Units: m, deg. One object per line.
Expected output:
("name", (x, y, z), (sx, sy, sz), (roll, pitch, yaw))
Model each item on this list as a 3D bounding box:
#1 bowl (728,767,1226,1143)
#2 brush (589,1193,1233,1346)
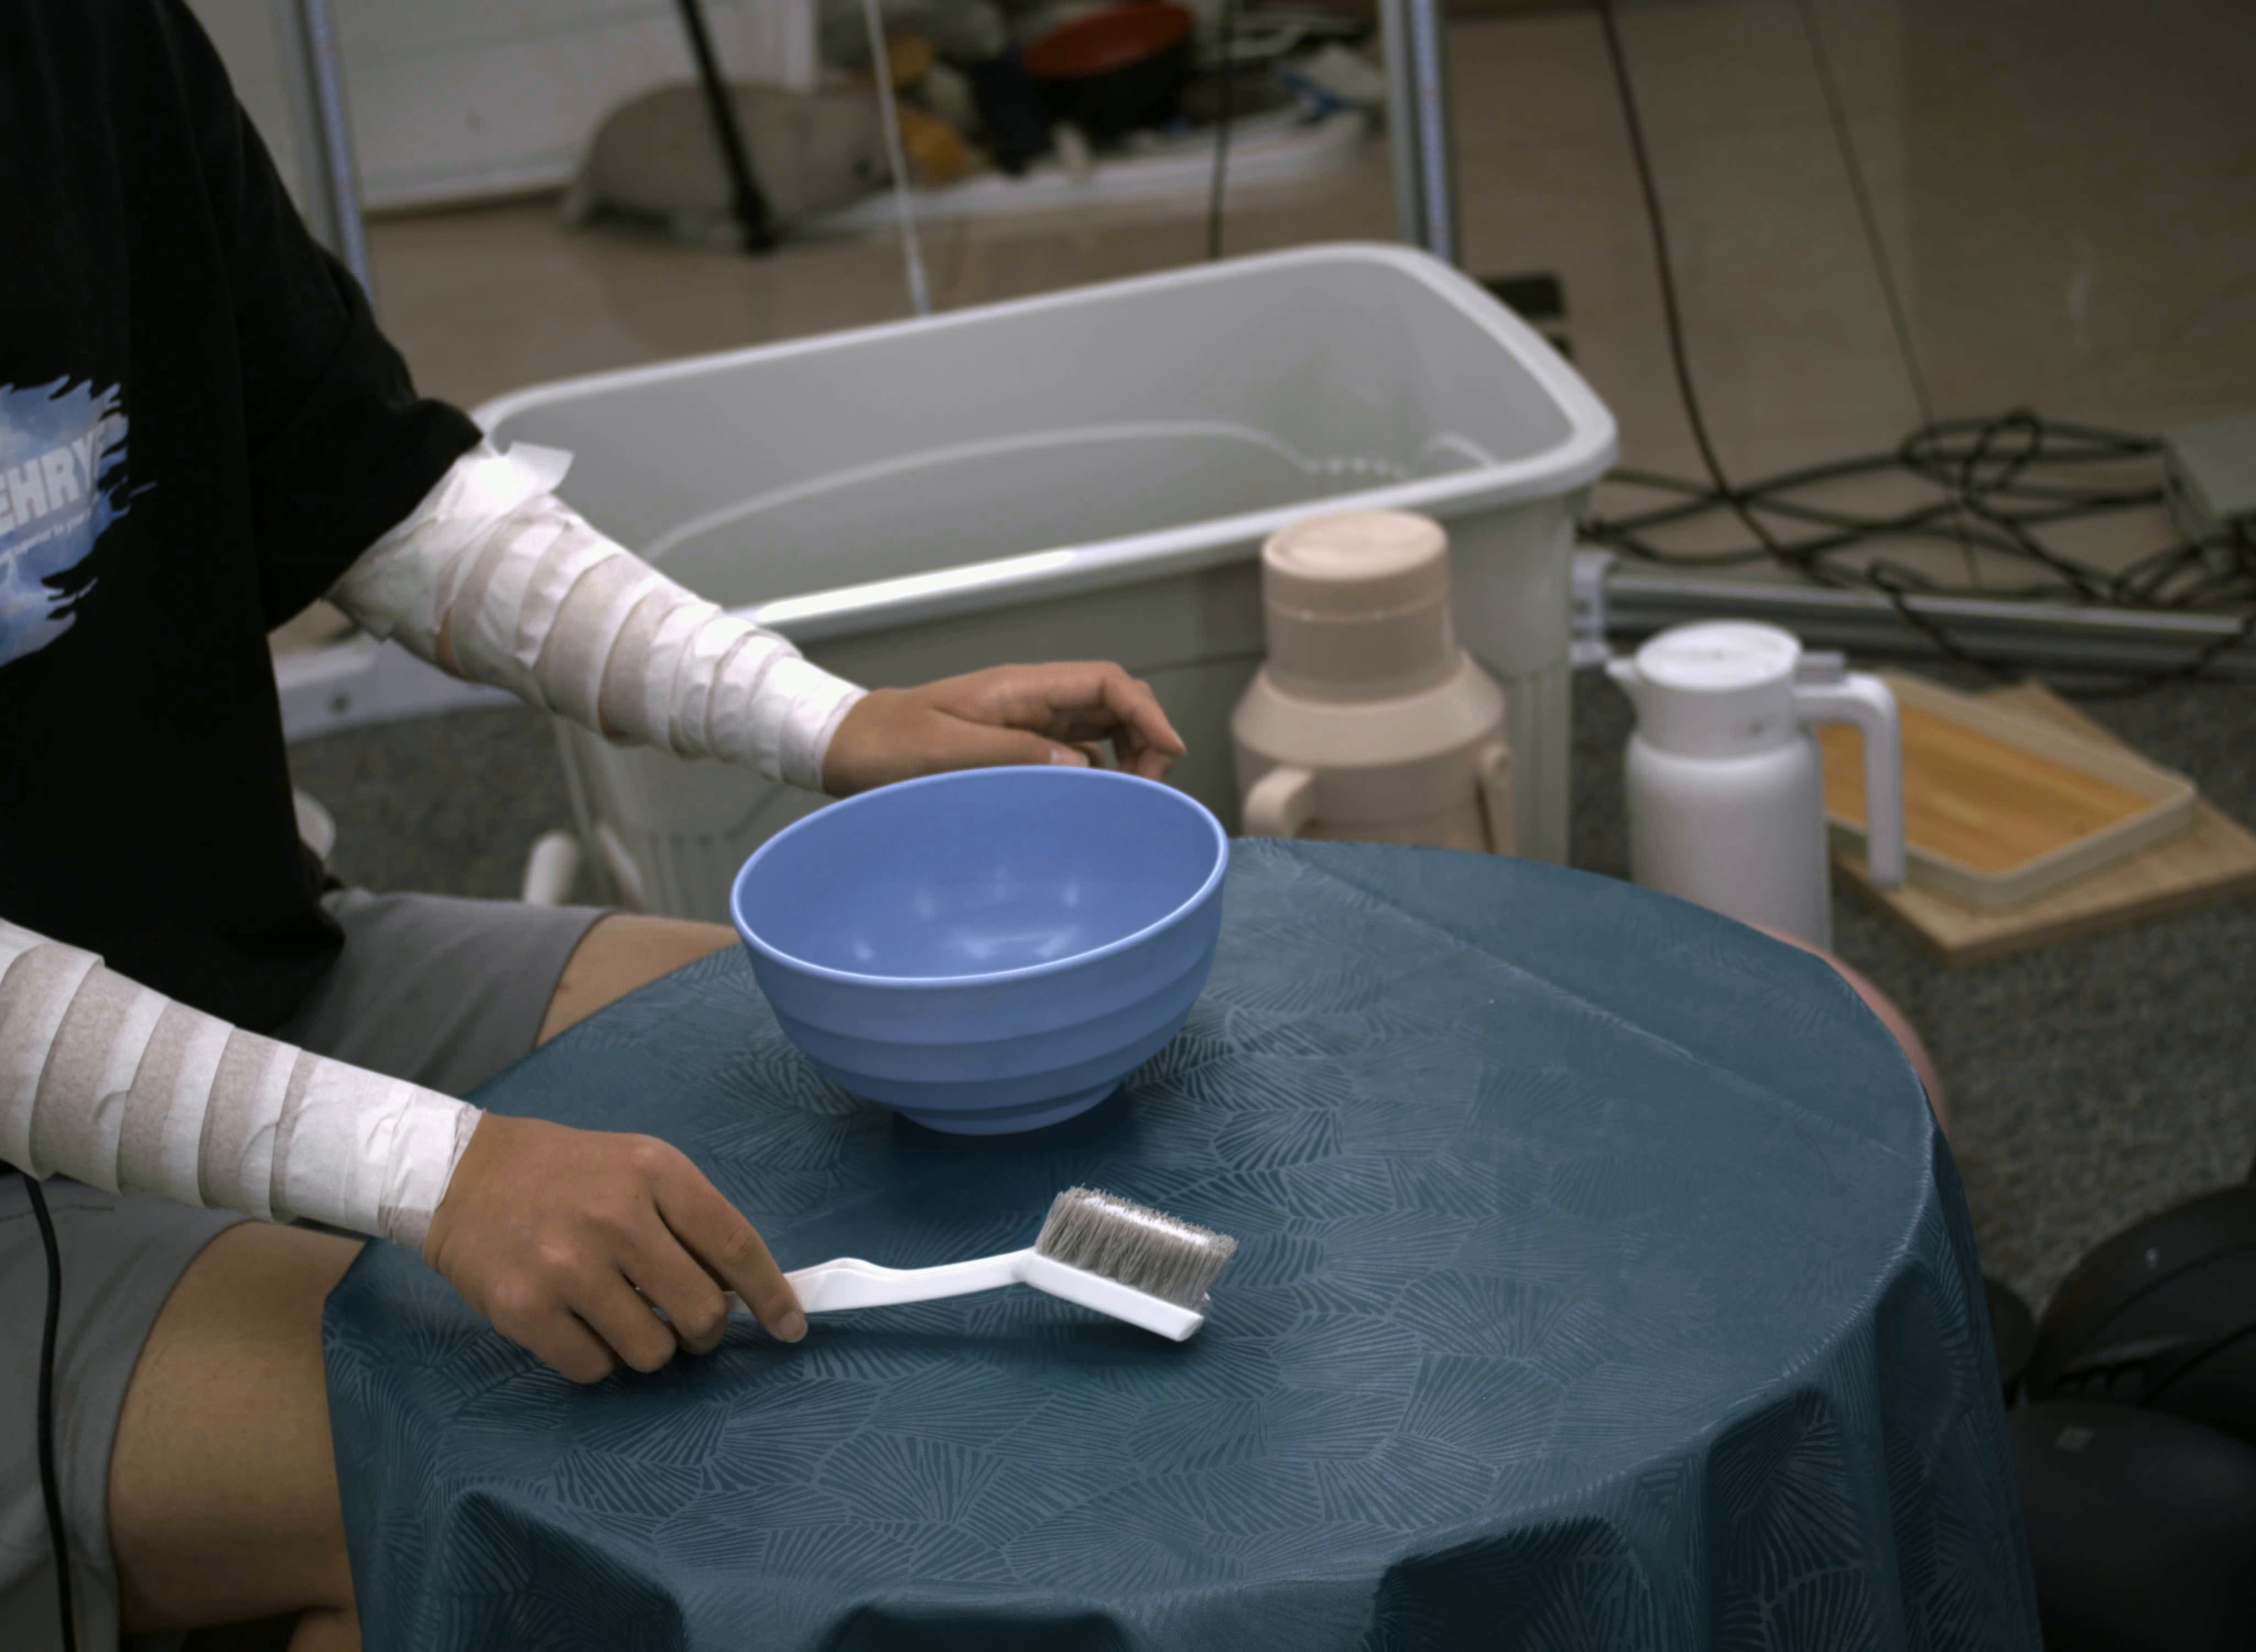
("bowl", (-0.053, 0.061, 2.223), (0.196, 0.097, 0.193), (-8, 26, 4))
("brush", (-0.081, 0.155, 2.062), (0.243, 0.050, 0.034), (3, 12, 16))
